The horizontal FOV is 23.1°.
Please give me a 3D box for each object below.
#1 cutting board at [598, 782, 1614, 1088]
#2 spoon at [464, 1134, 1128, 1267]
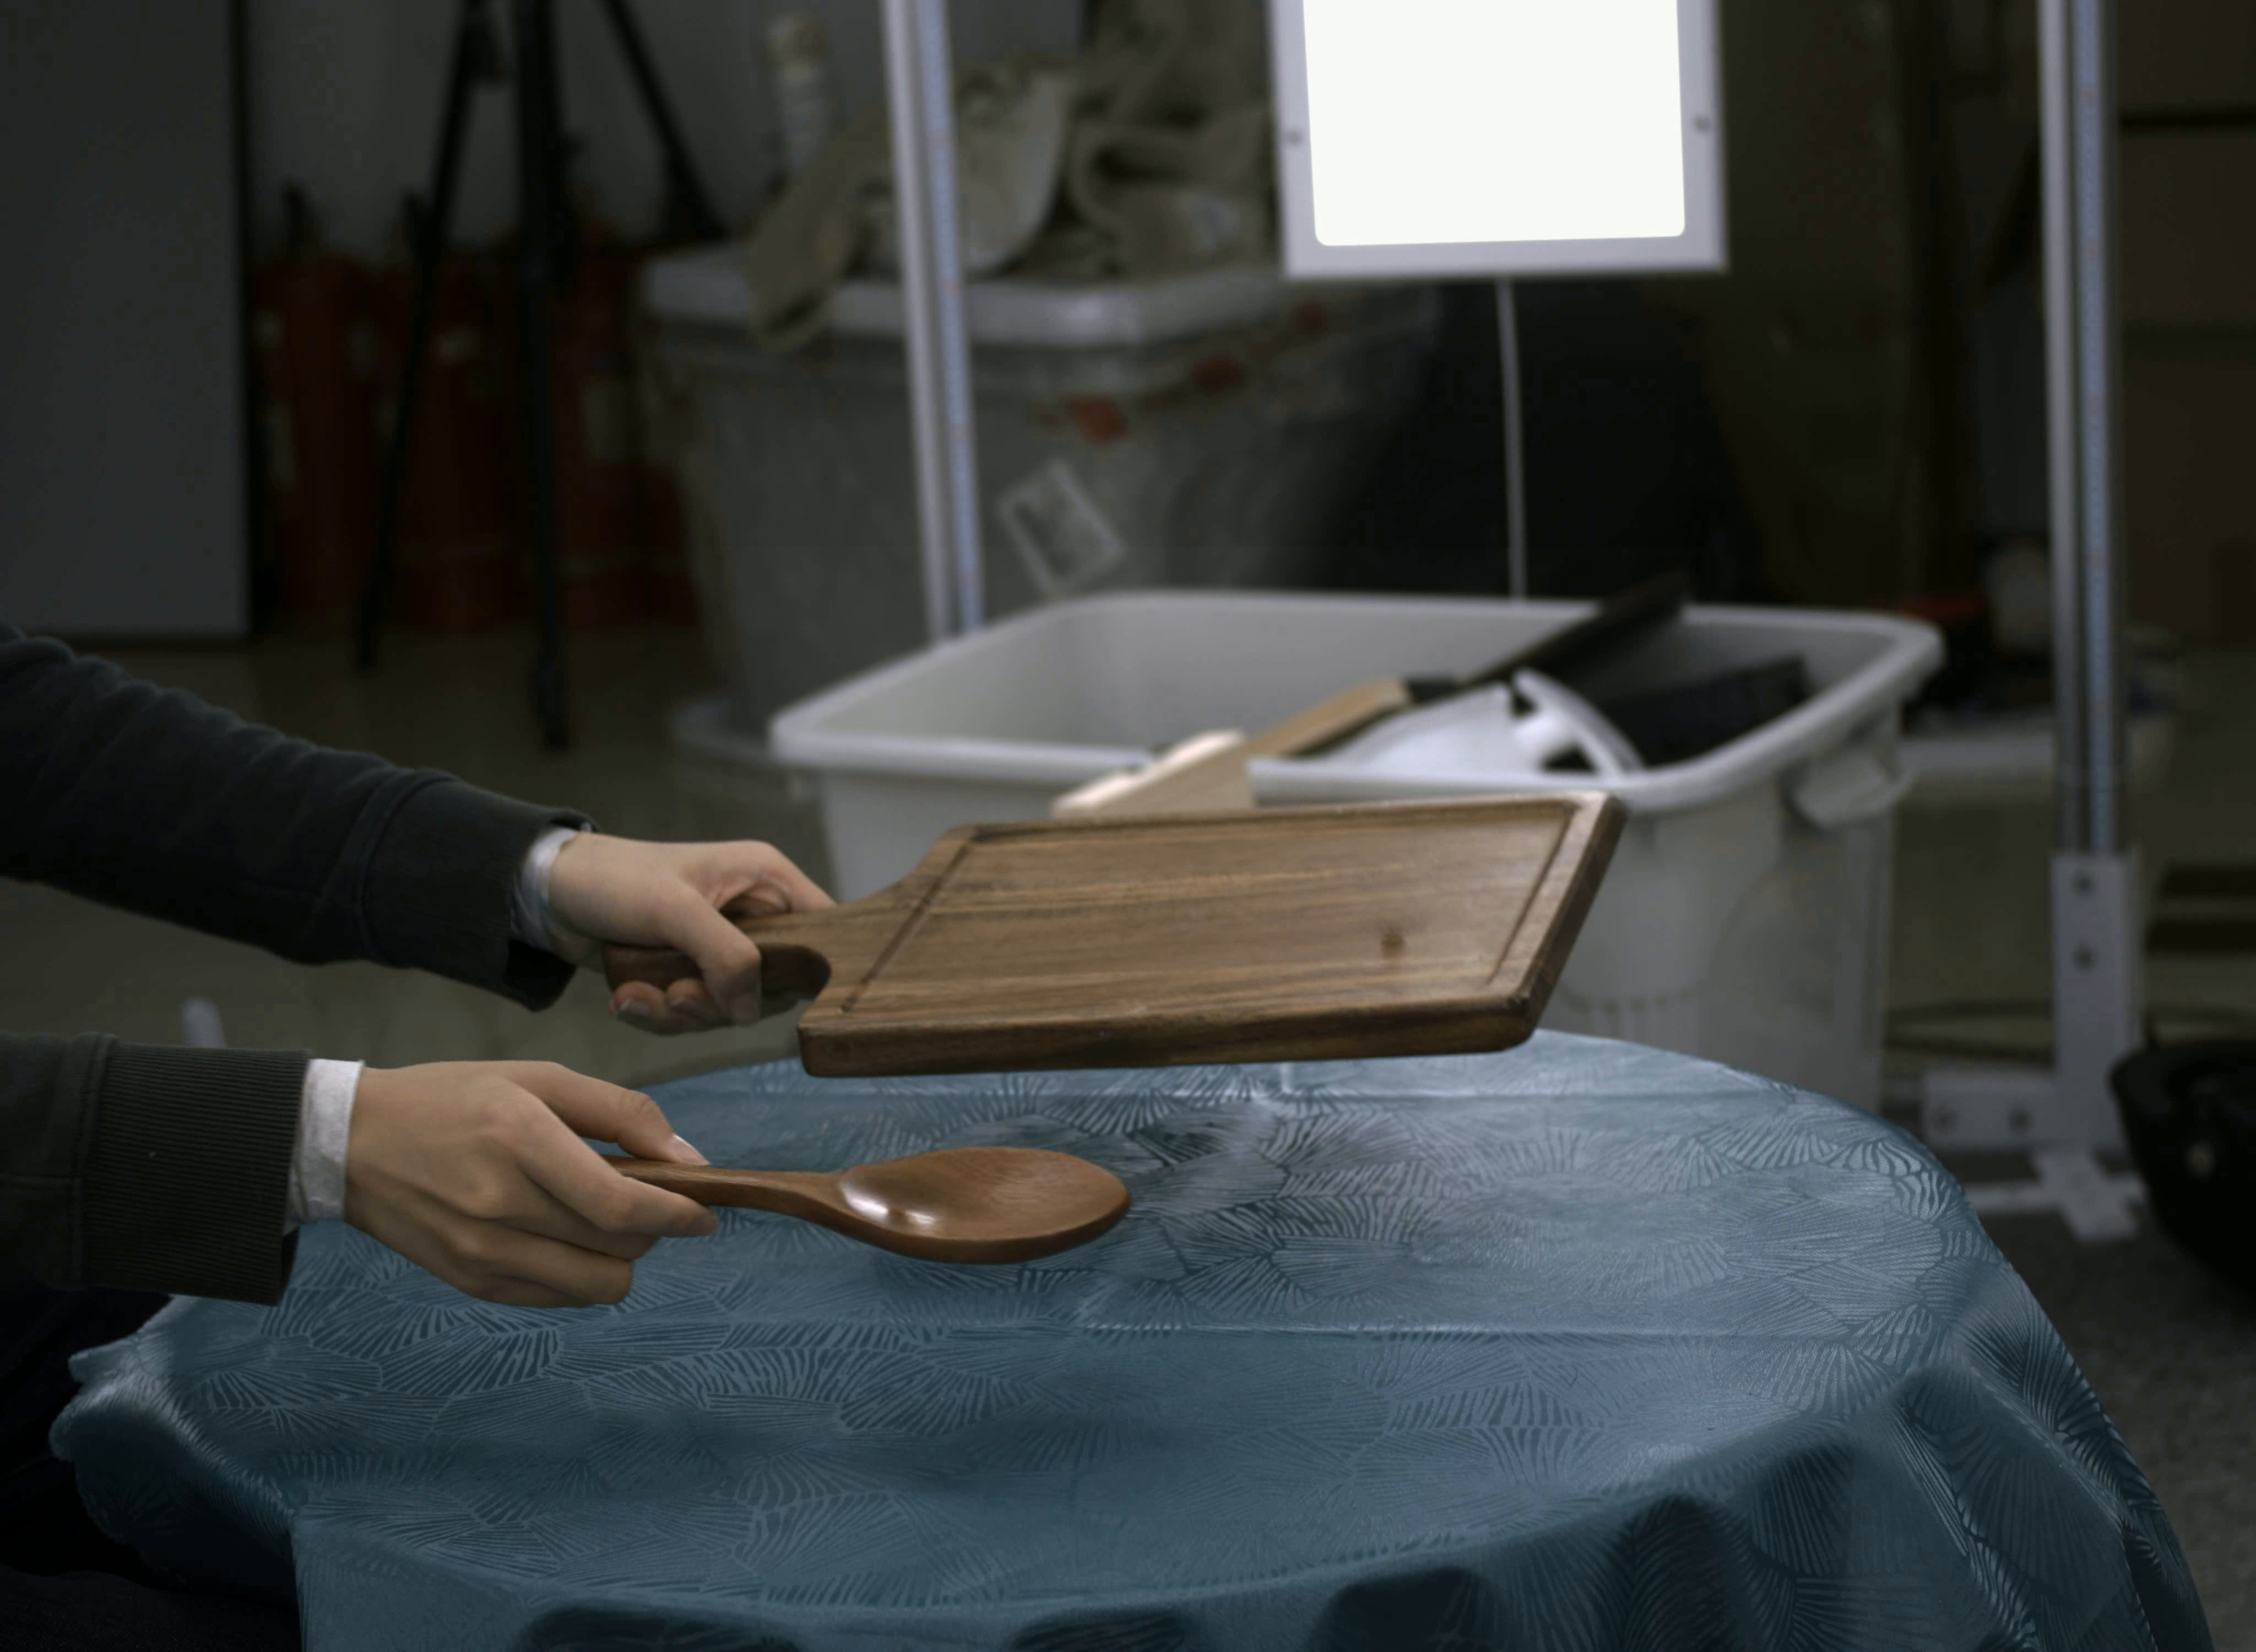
[{"bbox_3d":[-0.017,0.038,1.900,0.356,0.023,0.198,-4,22,18],"label":"cutting board"},{"bbox_3d":[-0.103,0.112,1.689,0.218,0.017,0.074,4,22,20],"label":"spoon"}]
